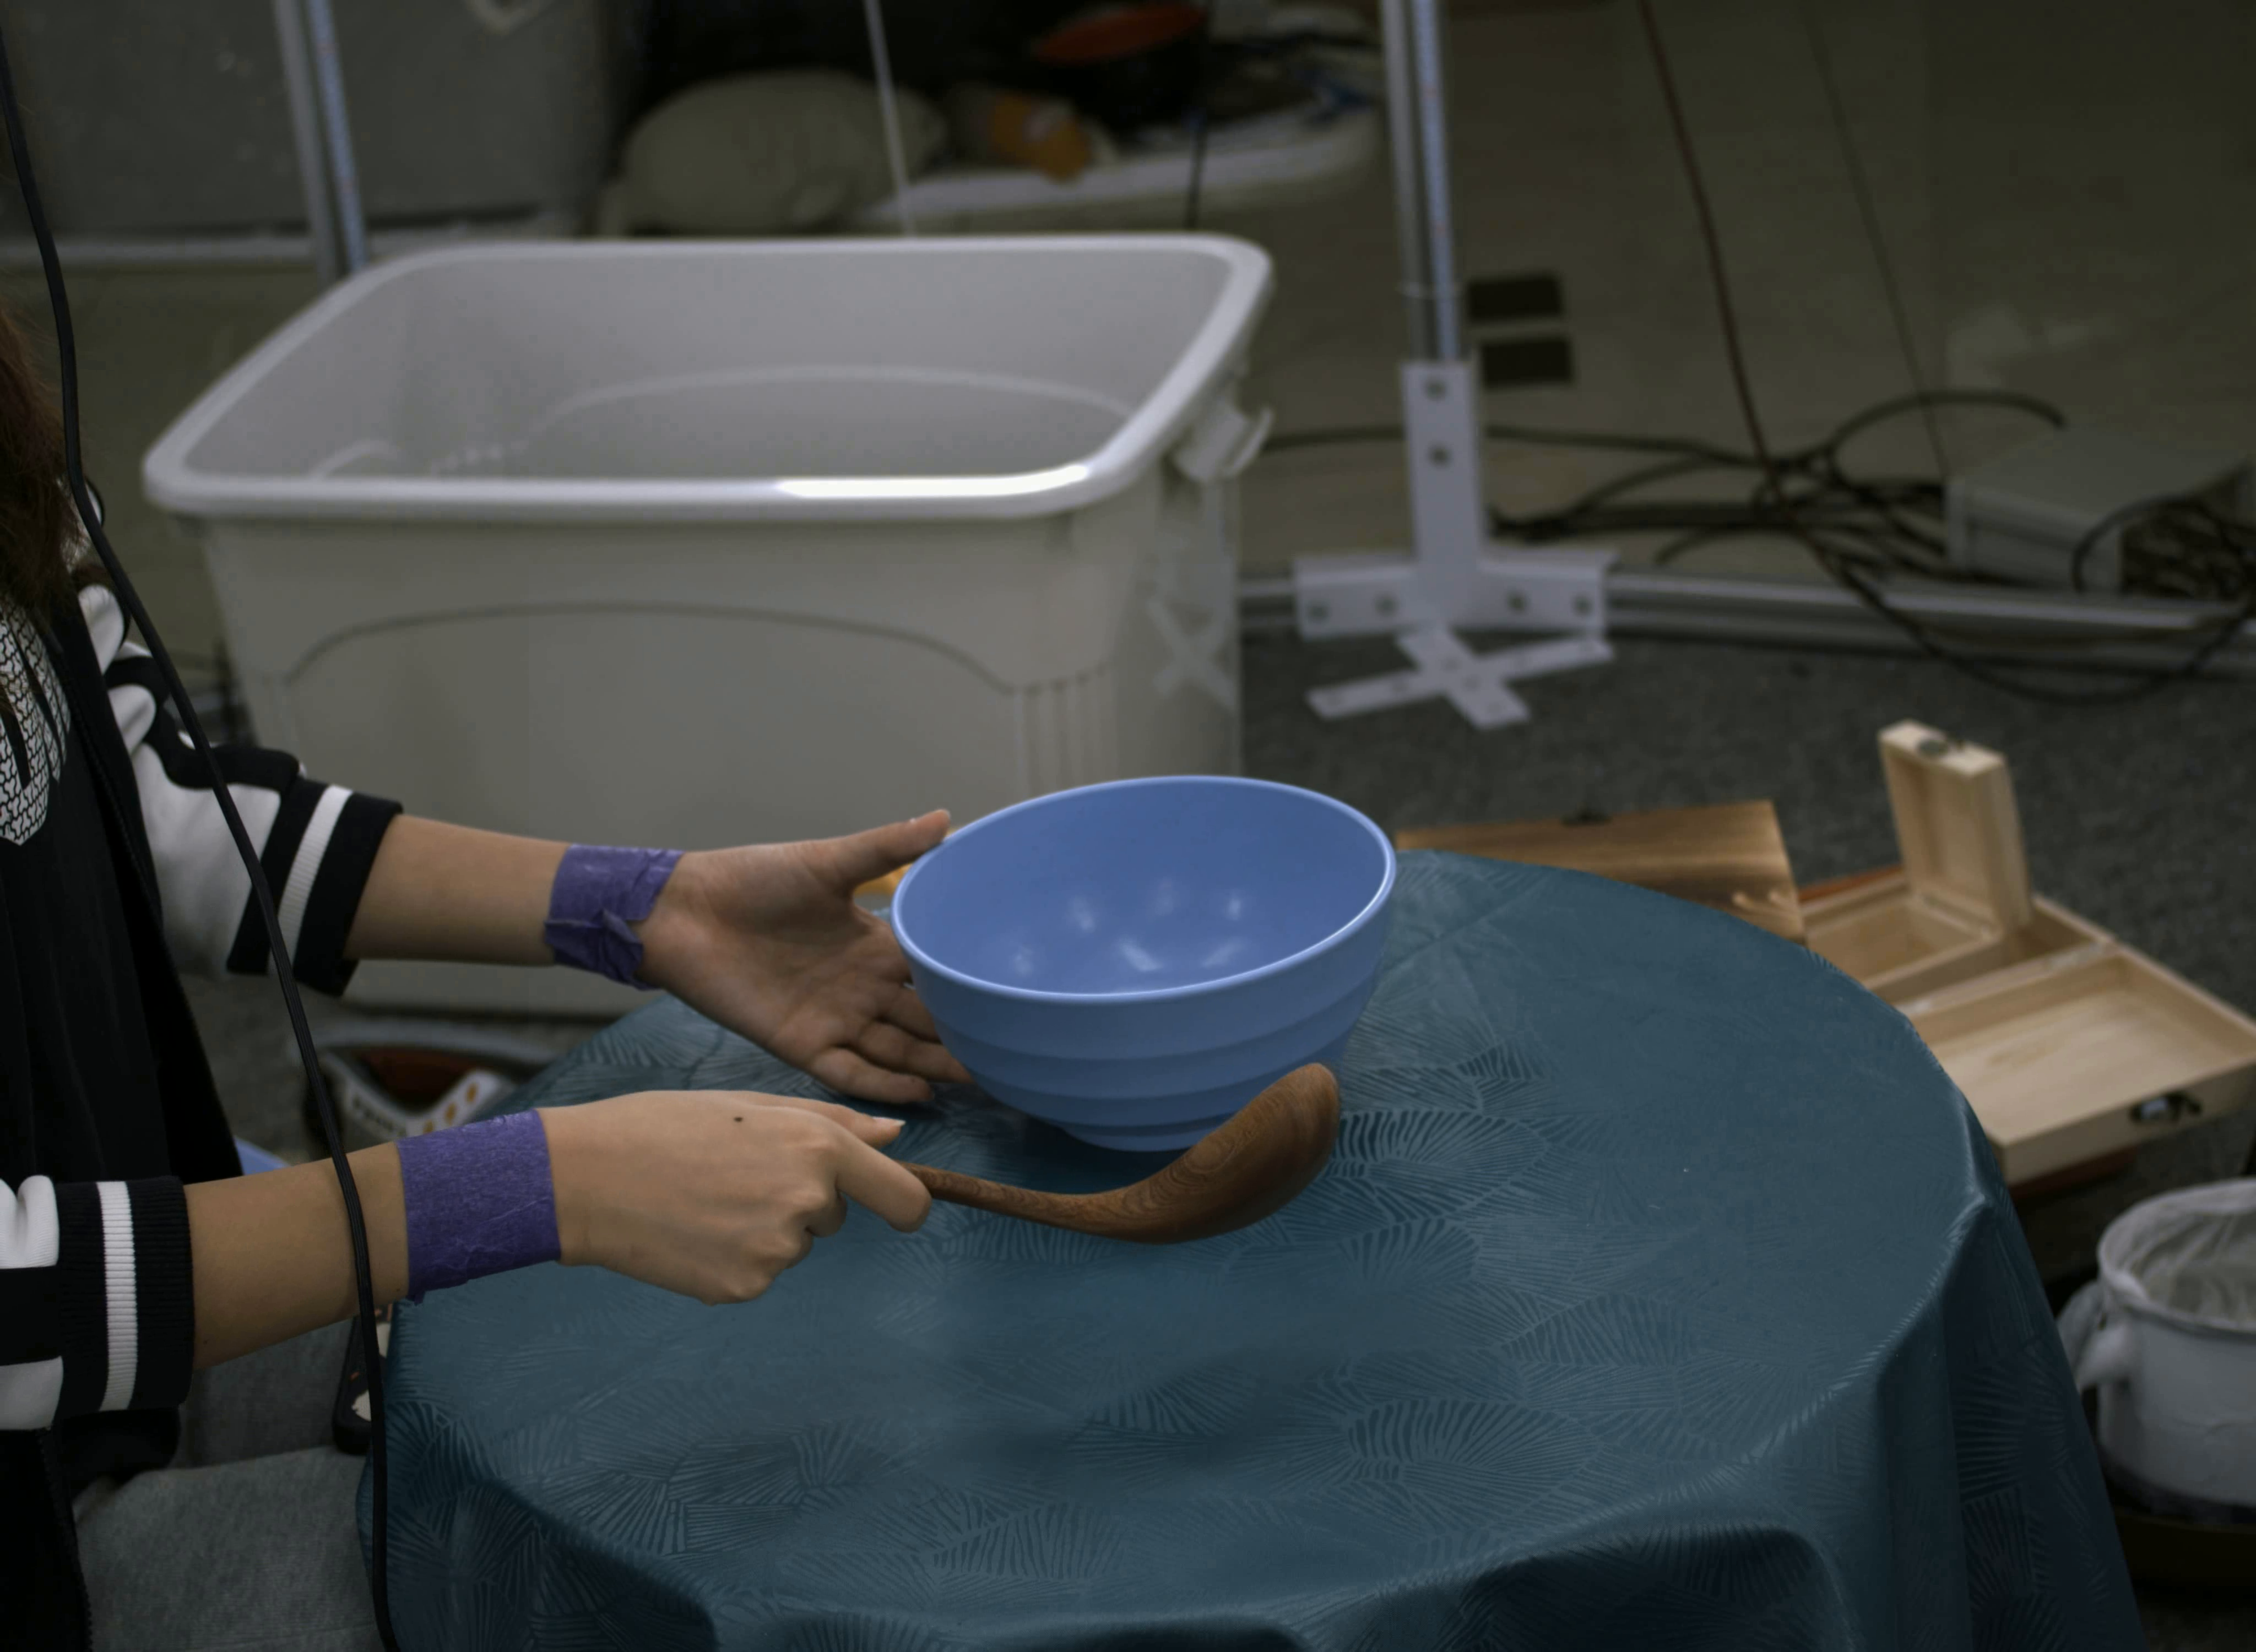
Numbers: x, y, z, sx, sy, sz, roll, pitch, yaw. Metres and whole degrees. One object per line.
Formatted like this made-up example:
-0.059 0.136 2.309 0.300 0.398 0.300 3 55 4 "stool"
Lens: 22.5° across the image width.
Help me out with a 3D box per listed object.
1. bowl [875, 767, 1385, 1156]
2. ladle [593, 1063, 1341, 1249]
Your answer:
0.002 0.064 2.197 0.196 0.097 0.193 -2 30 1 "bowl"
-0.056 0.114 1.981 0.260 0.077 0.064 1 69 2 "ladle"
